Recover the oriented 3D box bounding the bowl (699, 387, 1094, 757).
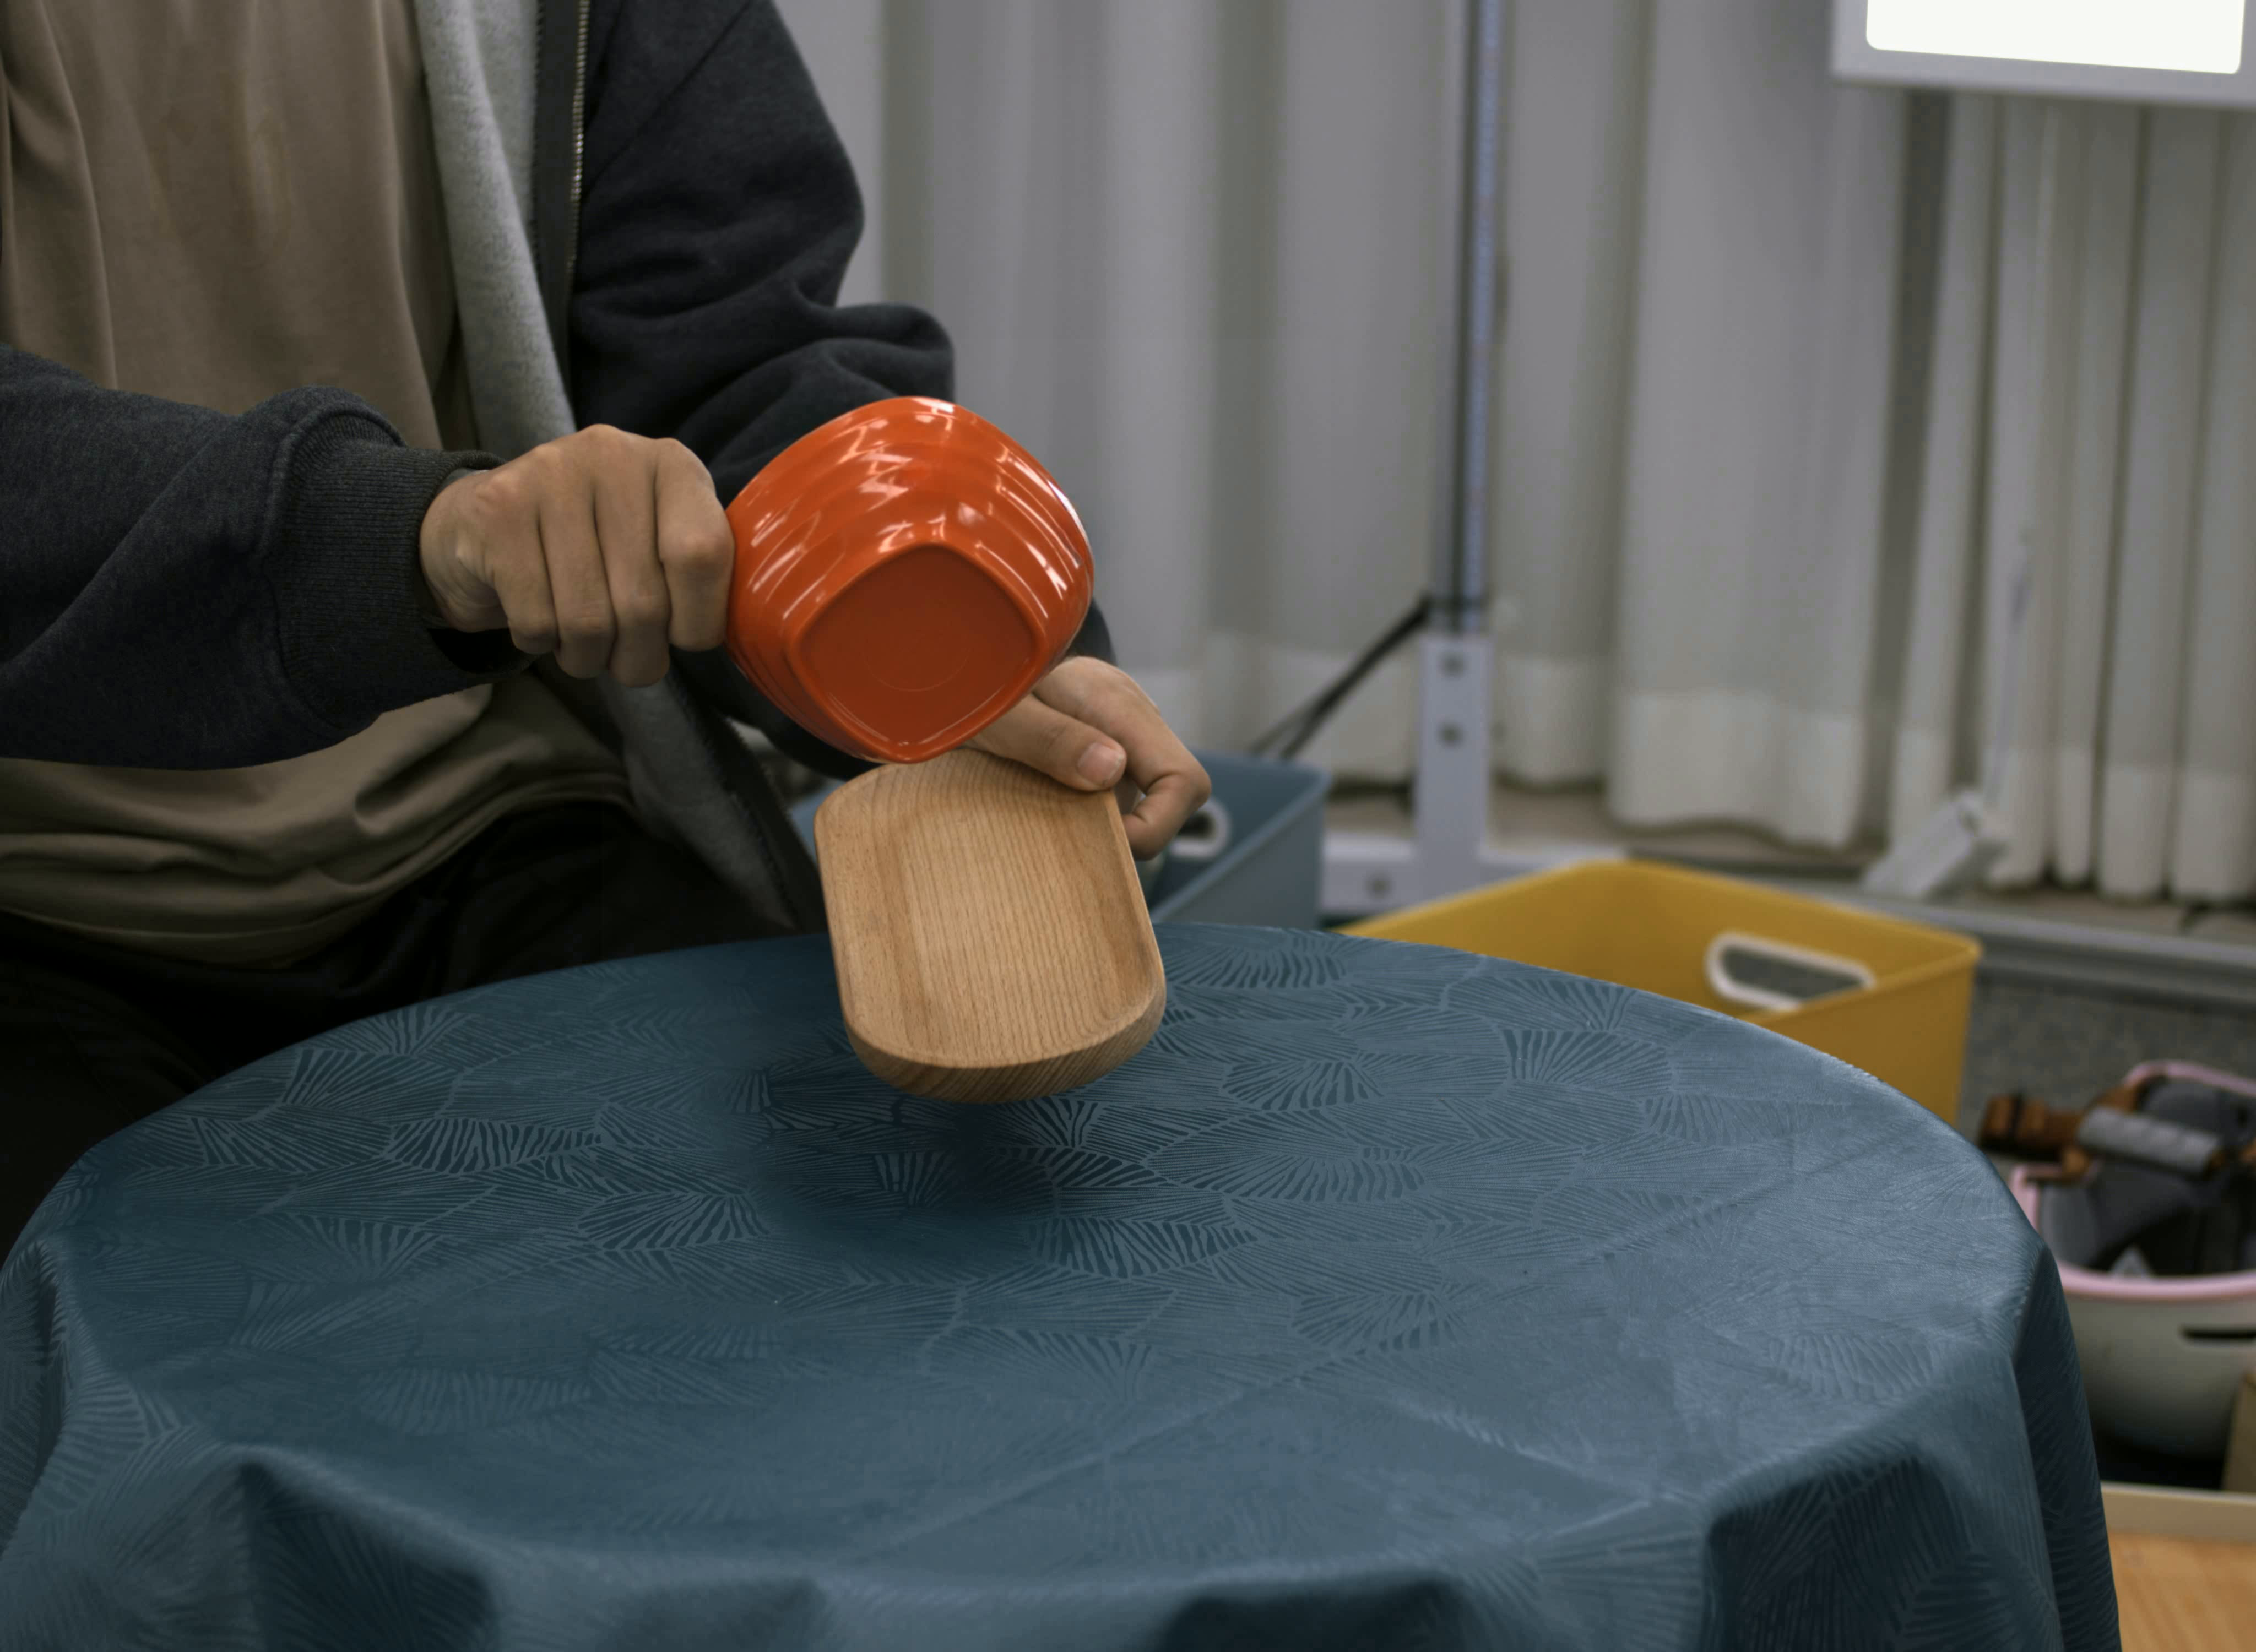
[{"bbox_3d":[-0.065,-0.065,1.544,0.119,0.120,0.051,-2,35,-11],"label":"bowl"}]

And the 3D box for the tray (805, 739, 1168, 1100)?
[{"bbox_3d":[-0.047,0.027,1.682,0.101,0.020,0.229,-8,25,-6],"label":"tray"}]
